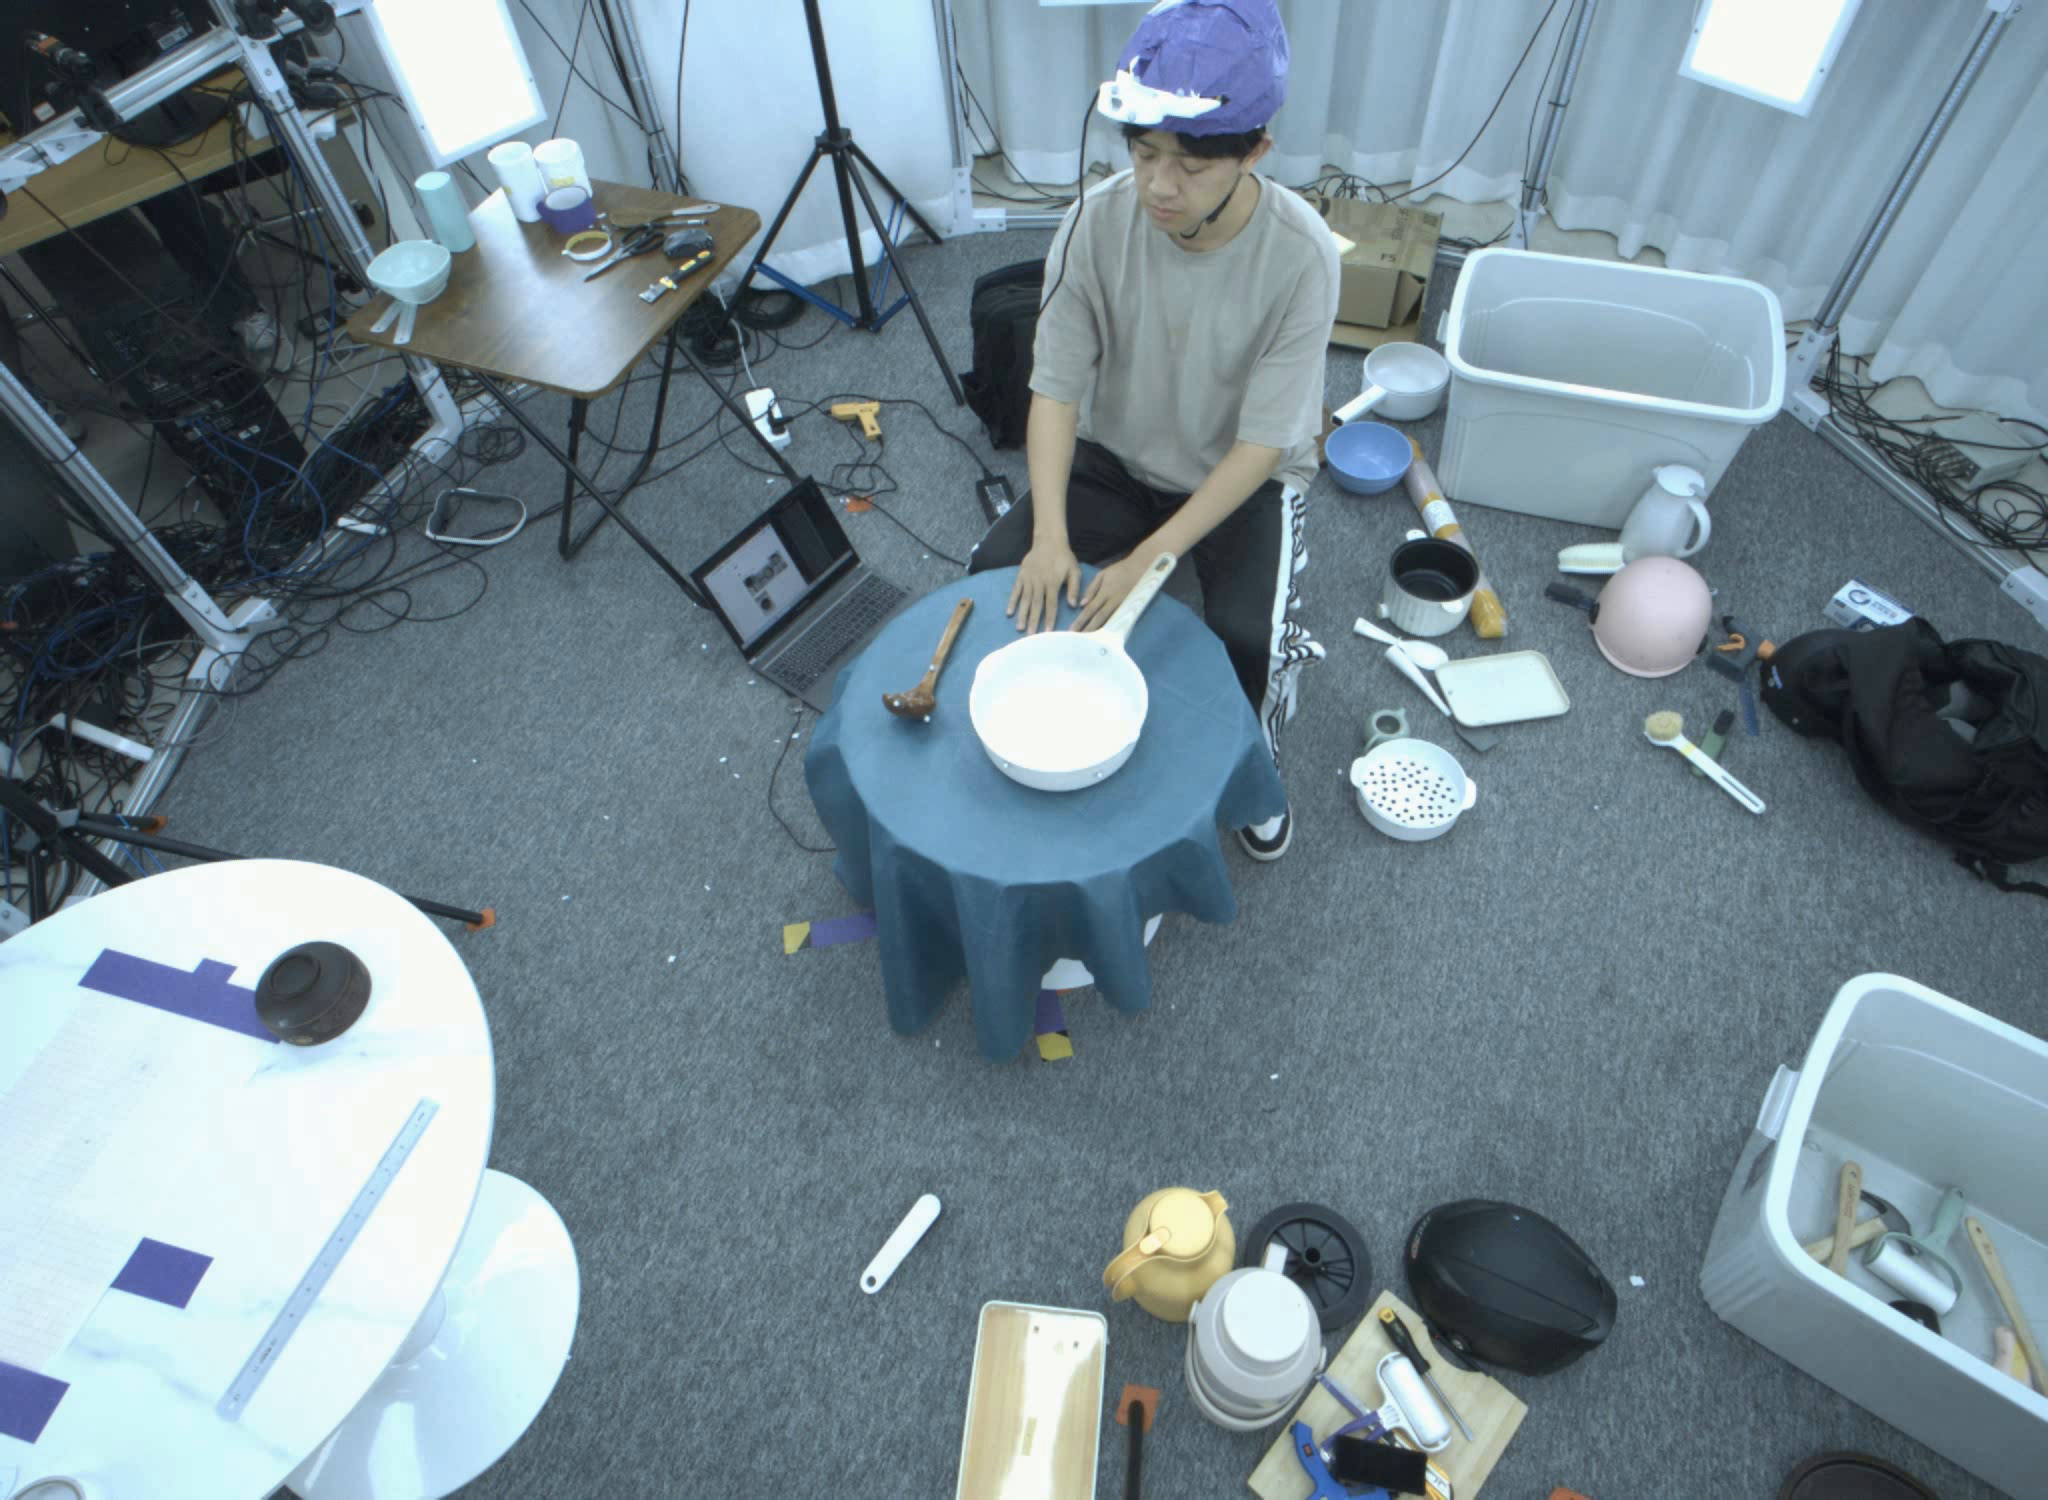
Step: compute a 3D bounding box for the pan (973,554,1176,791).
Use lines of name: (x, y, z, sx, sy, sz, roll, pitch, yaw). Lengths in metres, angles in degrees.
pan: (0.106, -0.116, 1.802, 0.259, 0.103, 0.436, 27, 60, 22)

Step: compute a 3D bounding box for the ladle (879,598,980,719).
ladle: (-0.135, -0.152, 1.850, 0.081, 0.077, 0.273, 15, 57, 15)
